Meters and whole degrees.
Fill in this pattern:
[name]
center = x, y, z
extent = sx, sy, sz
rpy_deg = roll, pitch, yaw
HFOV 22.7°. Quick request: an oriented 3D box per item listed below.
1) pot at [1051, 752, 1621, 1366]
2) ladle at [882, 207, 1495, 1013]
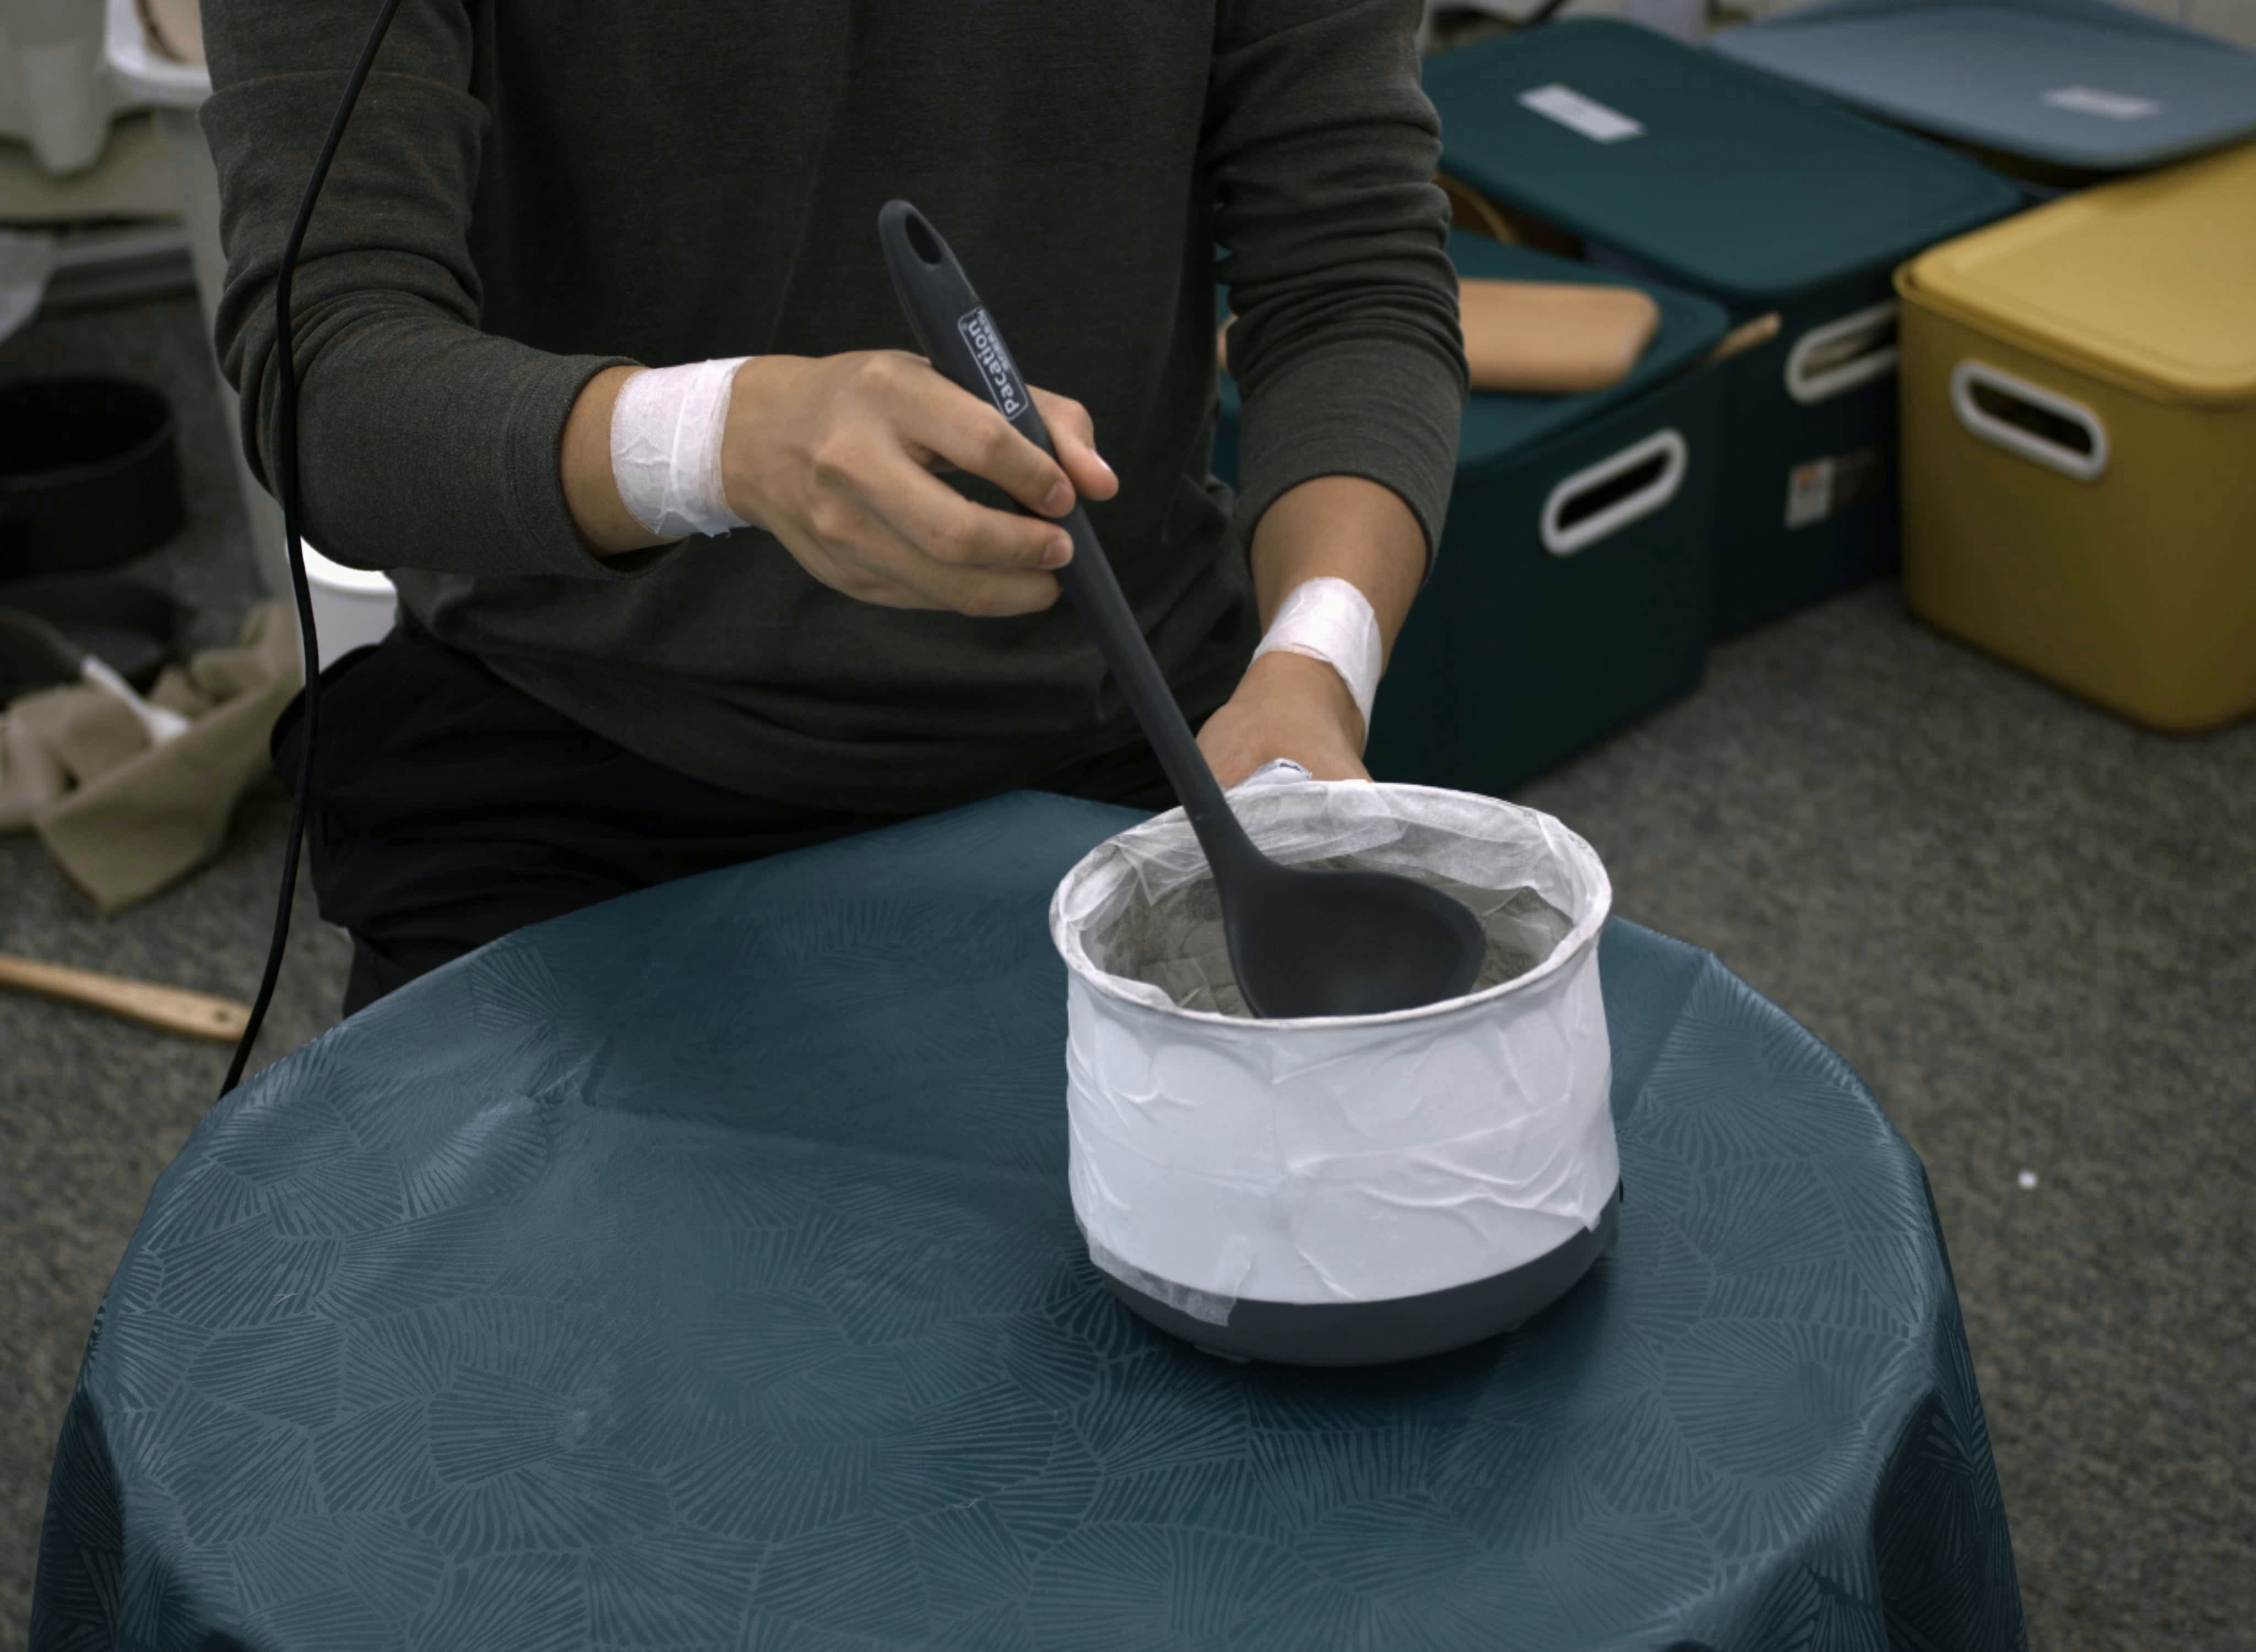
[pot]
center = 0.063, 0.068, 1.808
extent = 0.178, 0.135, 0.236
rpy_deg = -6, 24, -7
[ladle]
center = 0.015, -0.059, 1.749
extent = 0.063, 0.312, 0.088
rpy_deg = -12, 23, 42
